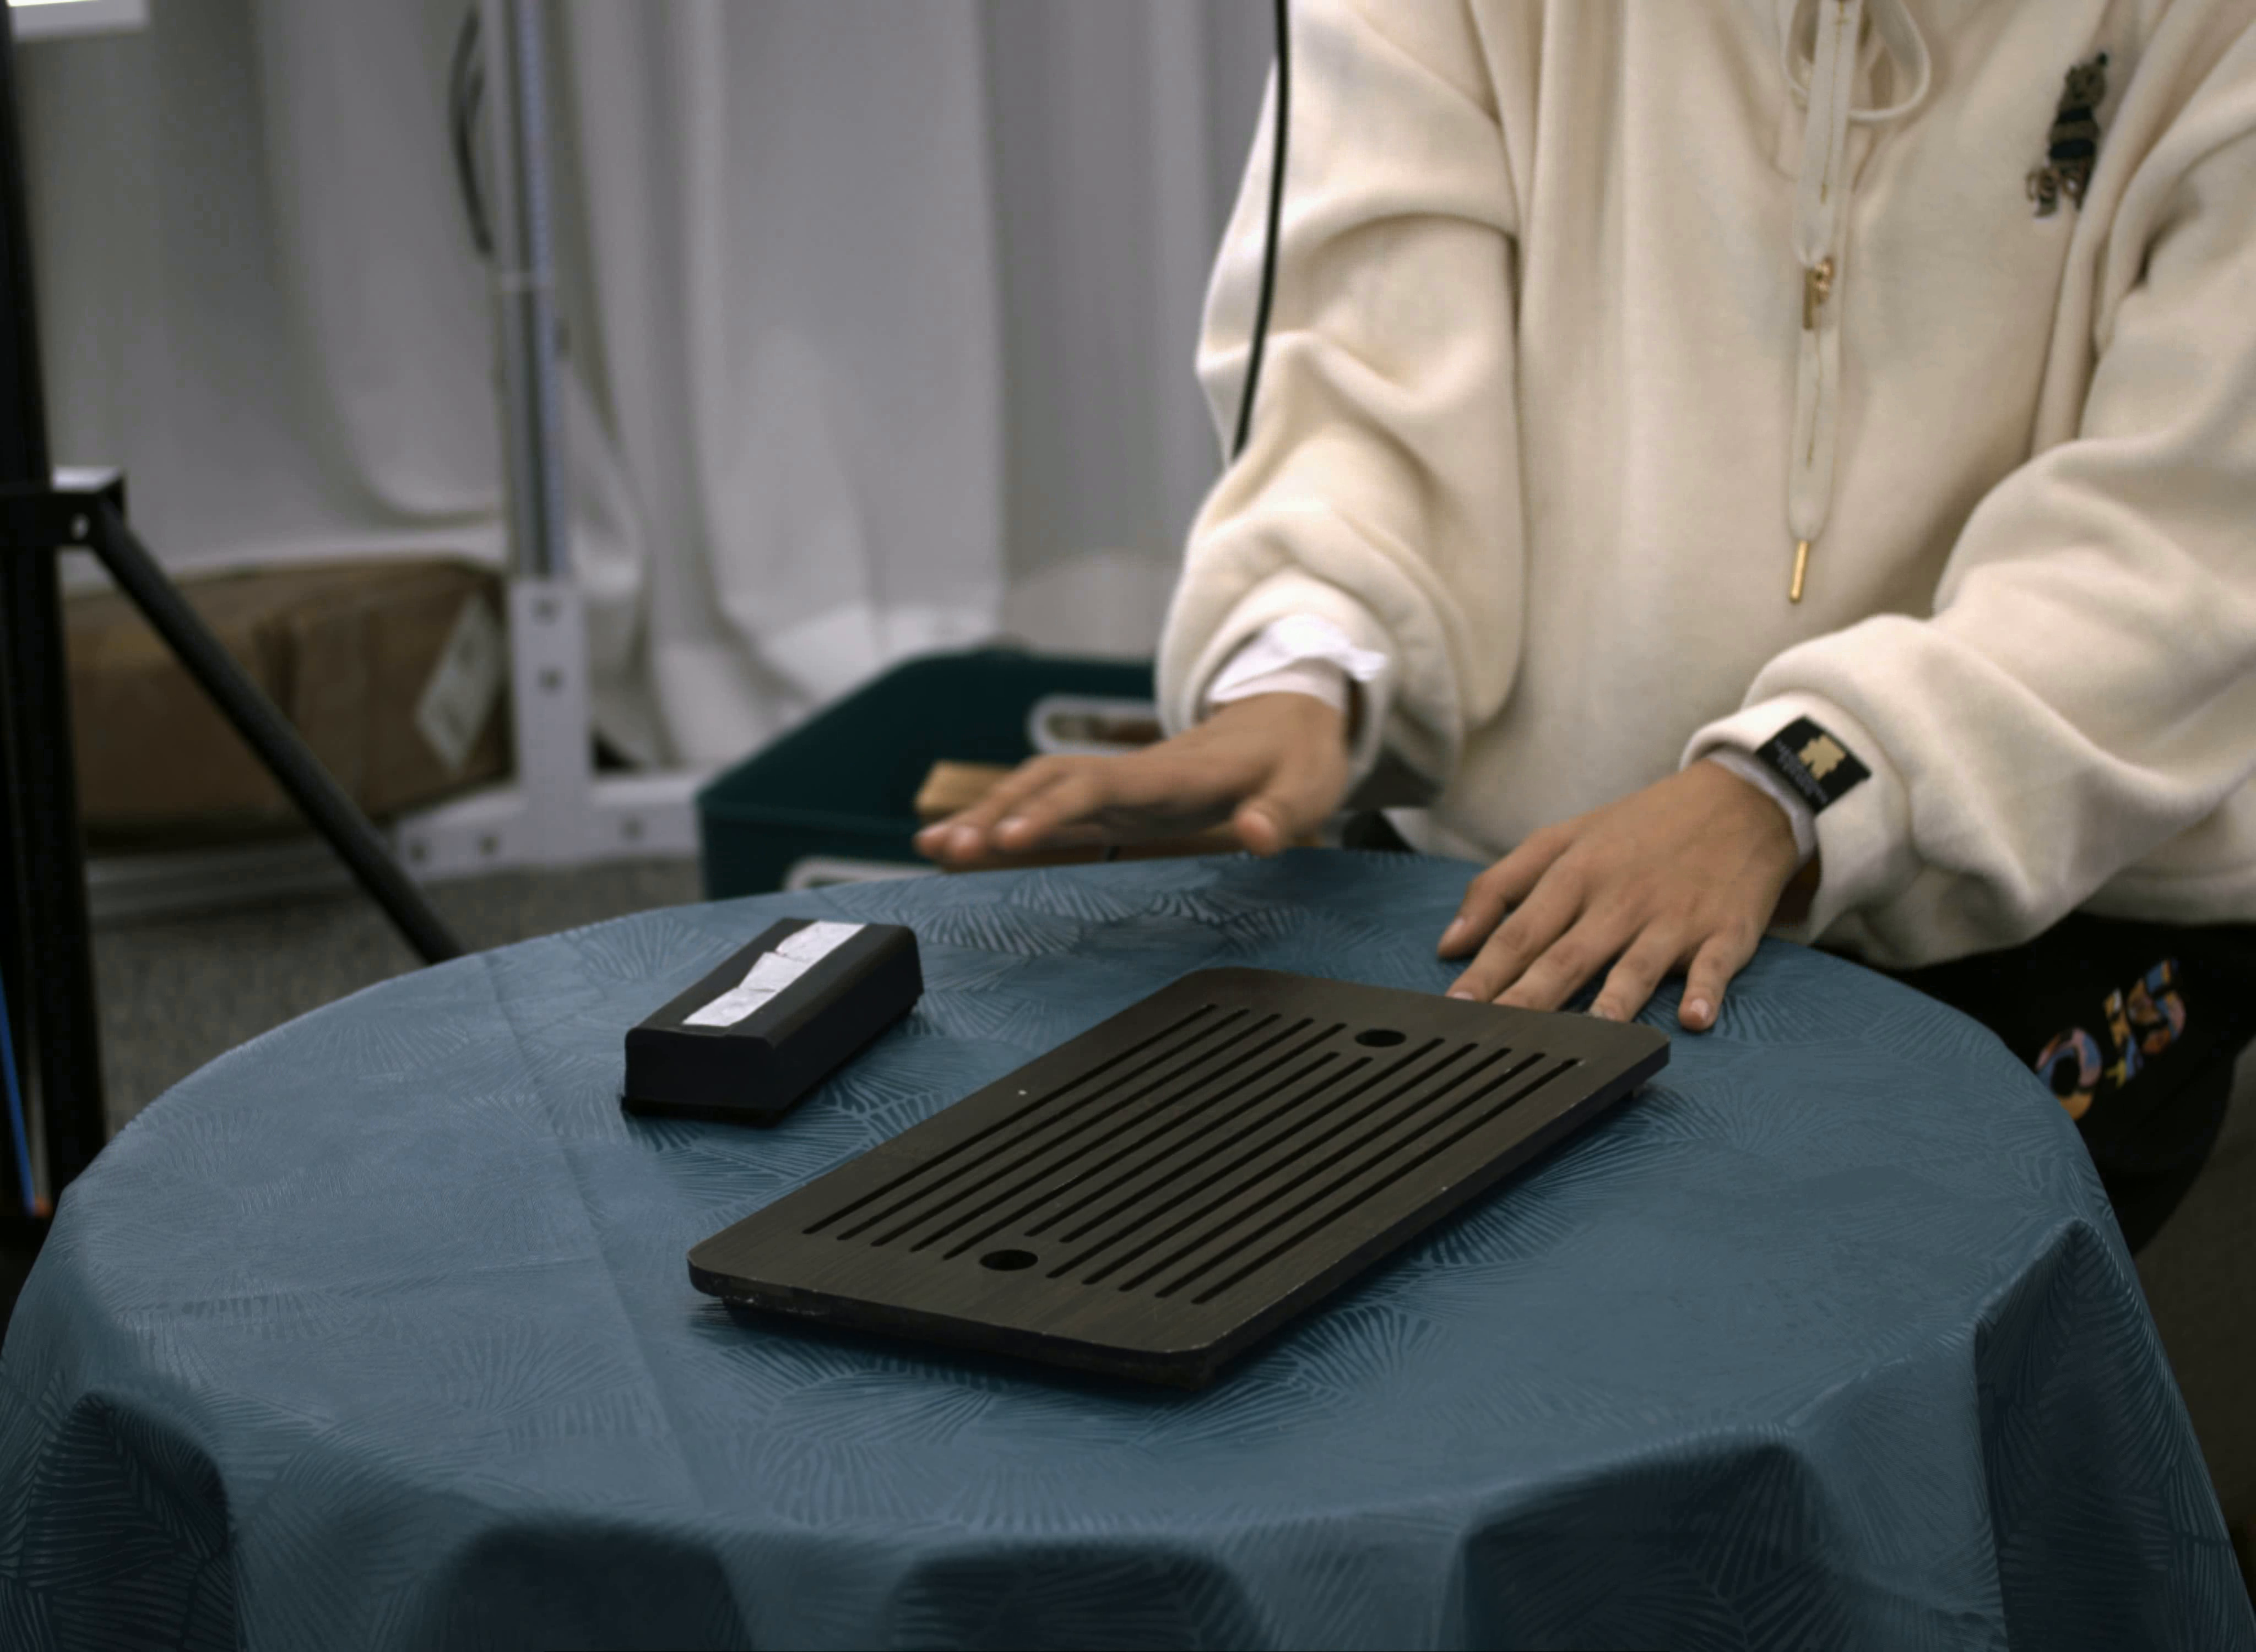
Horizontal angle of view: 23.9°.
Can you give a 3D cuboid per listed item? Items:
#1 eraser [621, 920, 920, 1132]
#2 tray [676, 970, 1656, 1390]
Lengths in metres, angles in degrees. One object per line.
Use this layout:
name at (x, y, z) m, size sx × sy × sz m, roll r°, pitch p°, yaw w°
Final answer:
eraser at (-0.112, 0.062, 1.687) m, size 0.054 × 0.030 × 0.124 m, roll 6°, pitch 17°, yaw 18°
tray at (0.018, 0.100, 1.551) m, size 0.173 × 0.018 × 0.300 m, roll 7°, pitch 19°, yaw 31°
